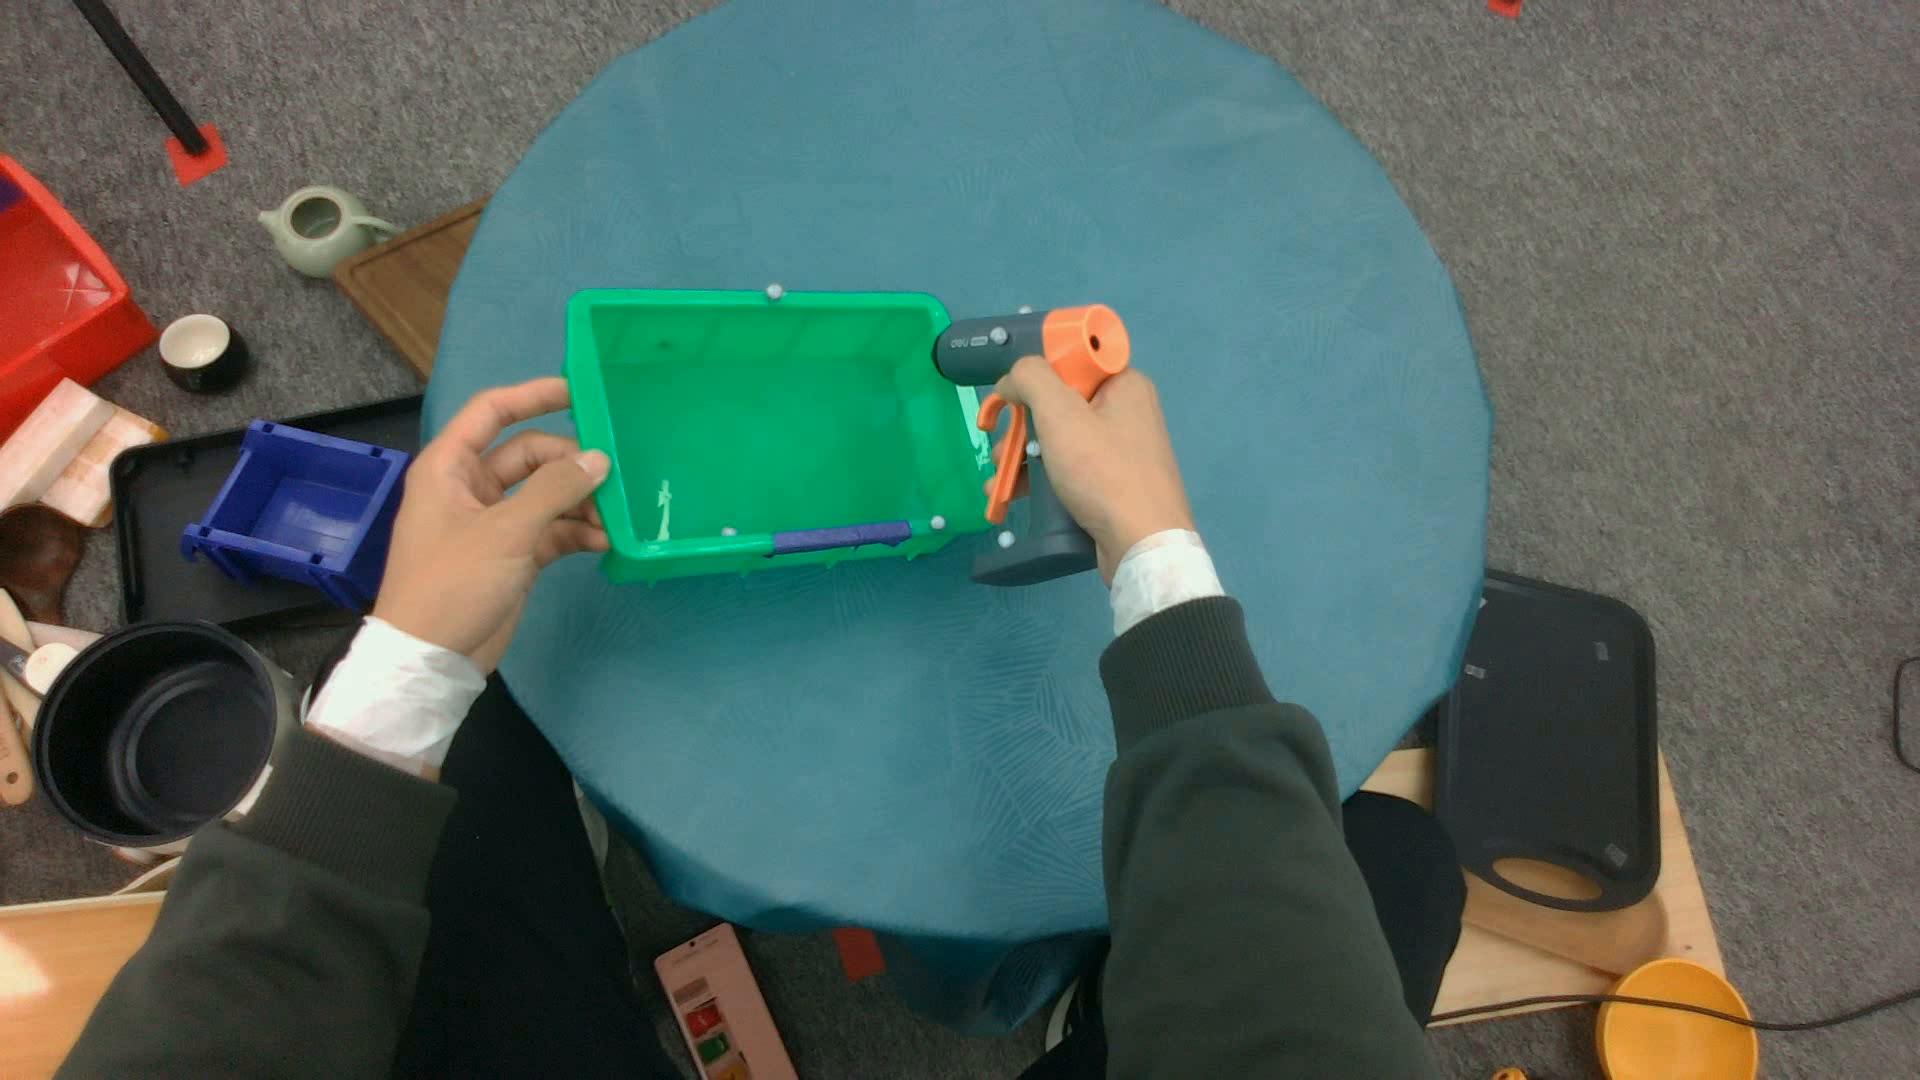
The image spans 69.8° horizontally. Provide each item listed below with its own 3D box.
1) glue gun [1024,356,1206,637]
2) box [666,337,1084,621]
[{"bbox_3d":[0.071,-0.027,0.677,0.041,0.117,0.140,11,69,-32],"label":"glue gun"},{"bbox_3d":[-0.048,-0.031,0.719,0.211,0.065,0.139,-3,70,-28],"label":"box"}]
